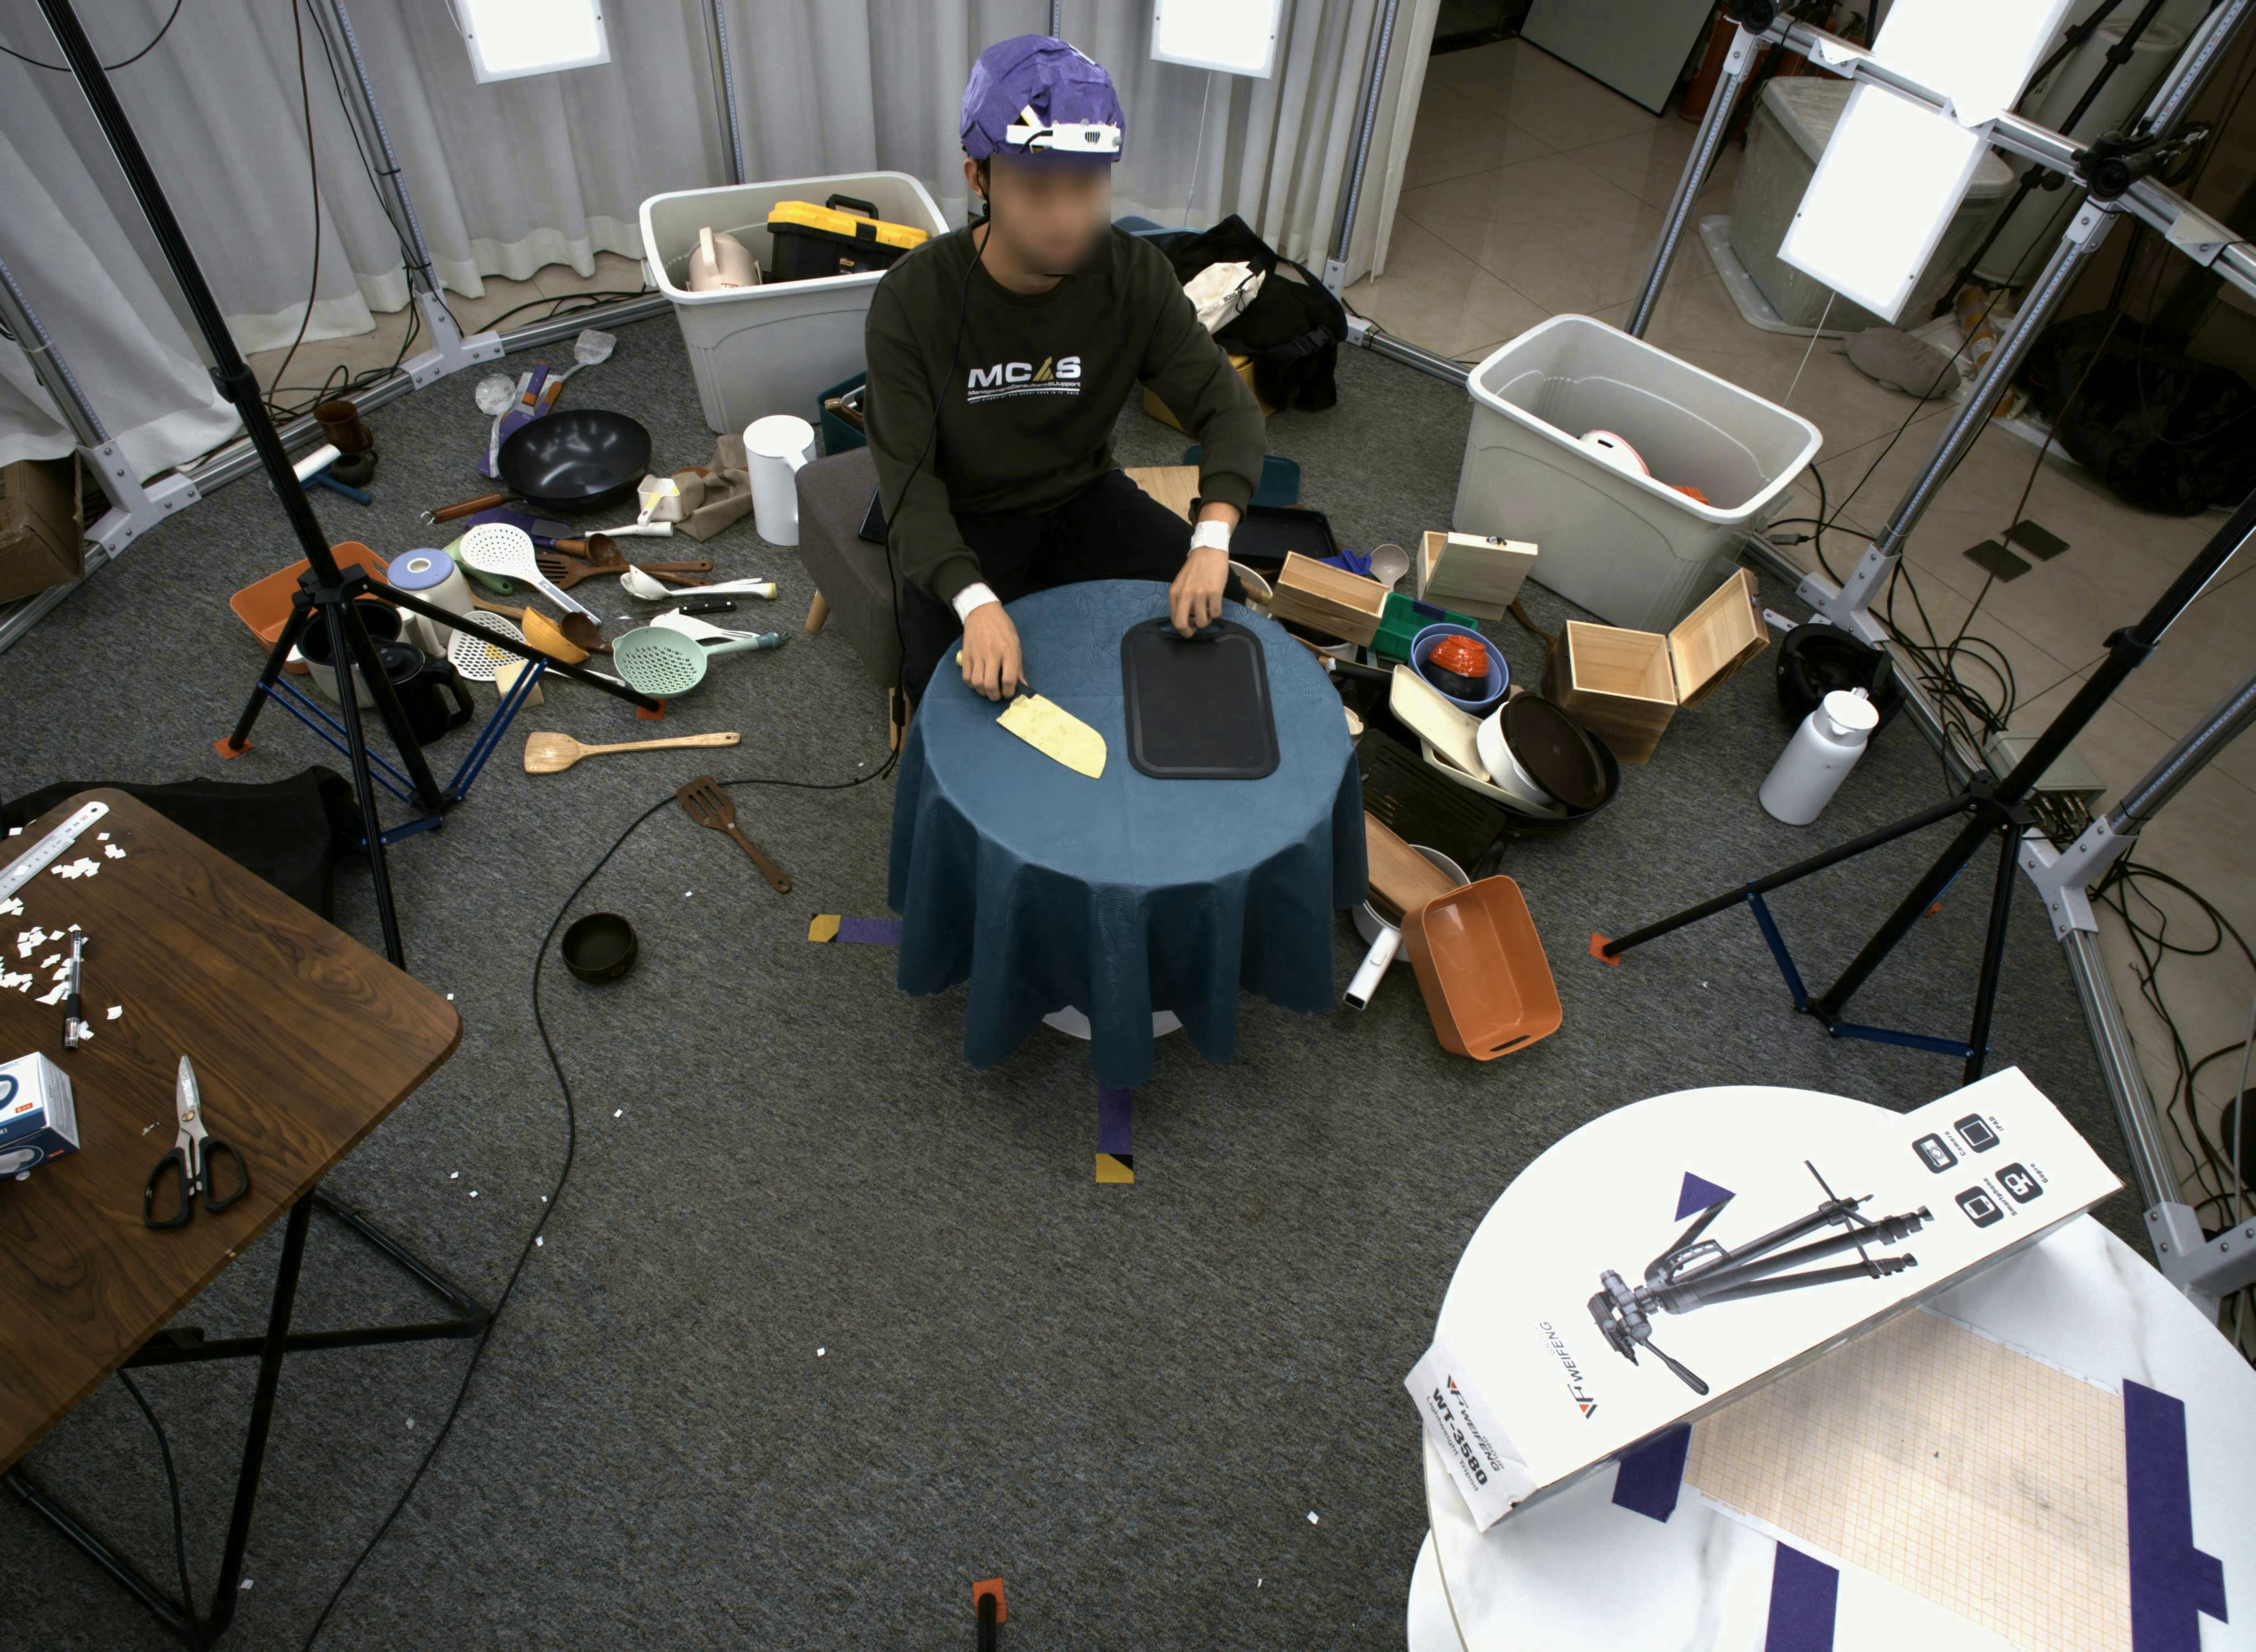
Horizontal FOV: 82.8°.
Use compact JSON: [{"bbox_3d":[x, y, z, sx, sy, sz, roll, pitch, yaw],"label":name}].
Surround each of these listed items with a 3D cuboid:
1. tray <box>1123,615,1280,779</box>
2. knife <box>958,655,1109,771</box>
[{"bbox_3d":[0.100,-0.192,1.833,0.211,0.009,0.333,1,50,-4],"label":"tray"},{"bbox_3d":[-0.139,-0.157,1.785,0.293,0.026,0.082,36,60,24],"label":"knife"}]
